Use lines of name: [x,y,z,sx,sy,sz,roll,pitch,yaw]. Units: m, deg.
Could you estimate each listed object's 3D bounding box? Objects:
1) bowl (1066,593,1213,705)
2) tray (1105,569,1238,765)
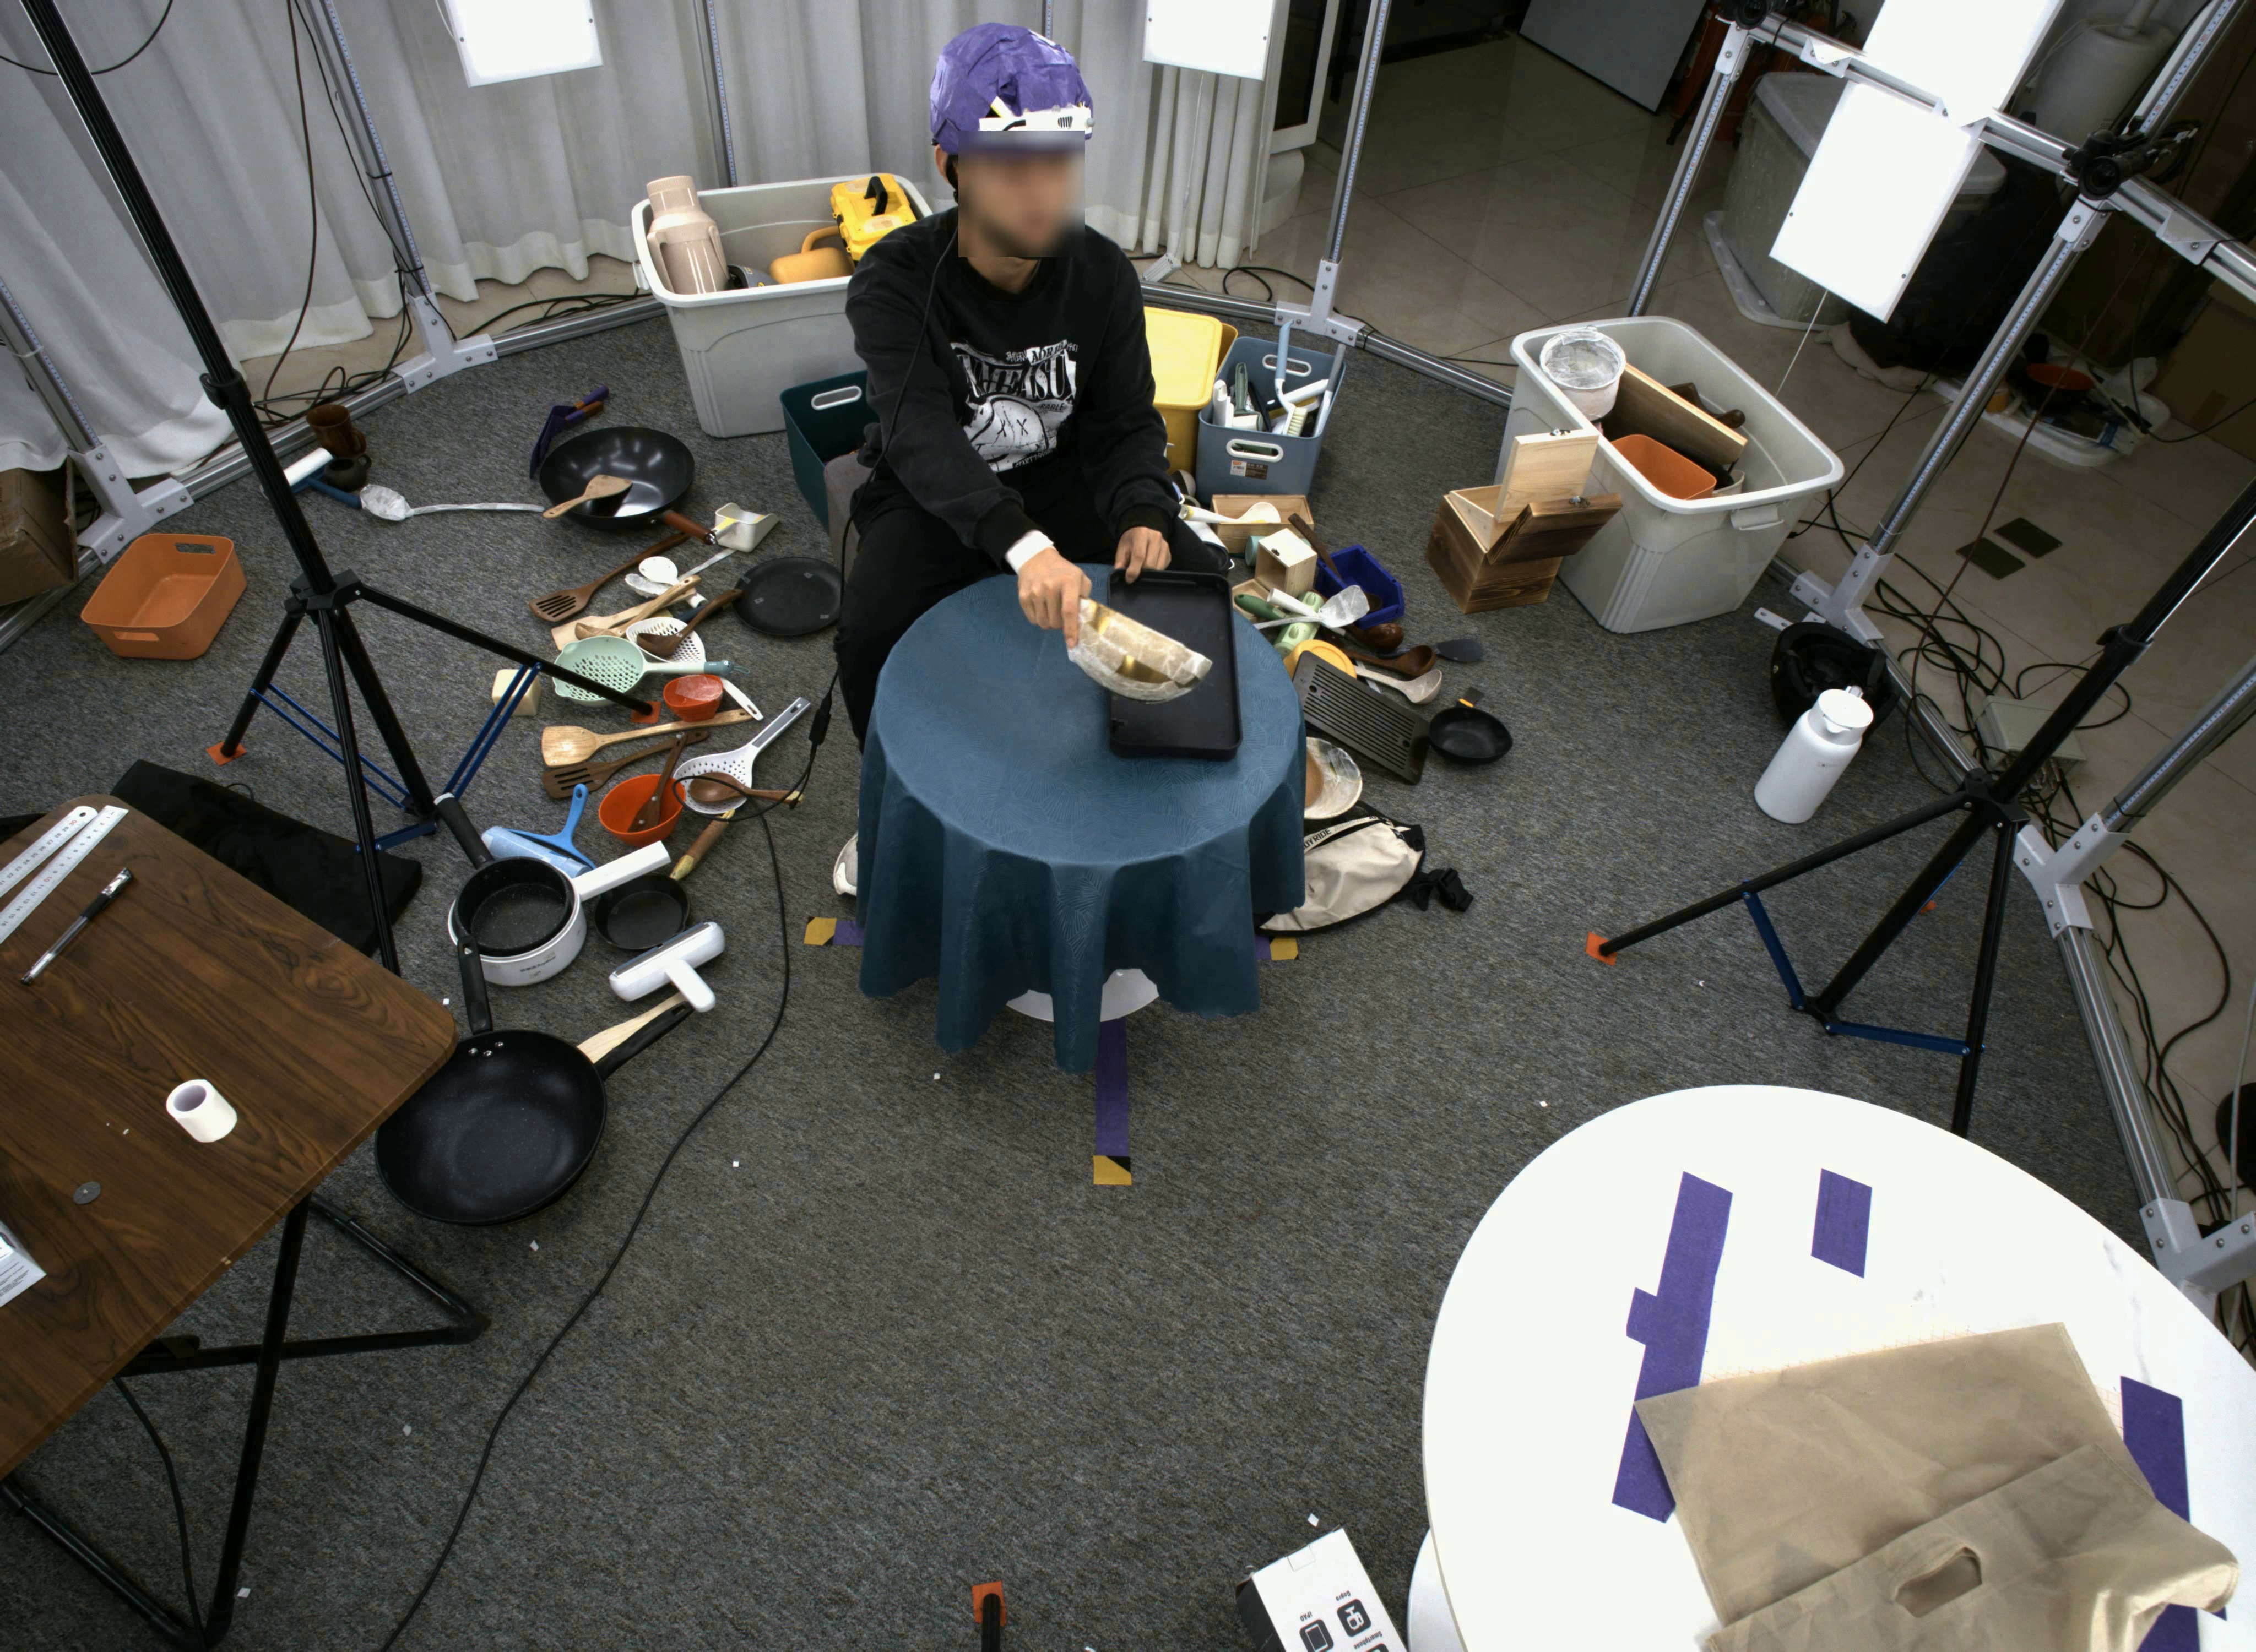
bowl: [0.001,-0.215,1.665,0.216,0.213,0.094,28,96,18]
tray: [0.061,-0.232,1.840,0.184,0.036,0.325,4,57,-4]
